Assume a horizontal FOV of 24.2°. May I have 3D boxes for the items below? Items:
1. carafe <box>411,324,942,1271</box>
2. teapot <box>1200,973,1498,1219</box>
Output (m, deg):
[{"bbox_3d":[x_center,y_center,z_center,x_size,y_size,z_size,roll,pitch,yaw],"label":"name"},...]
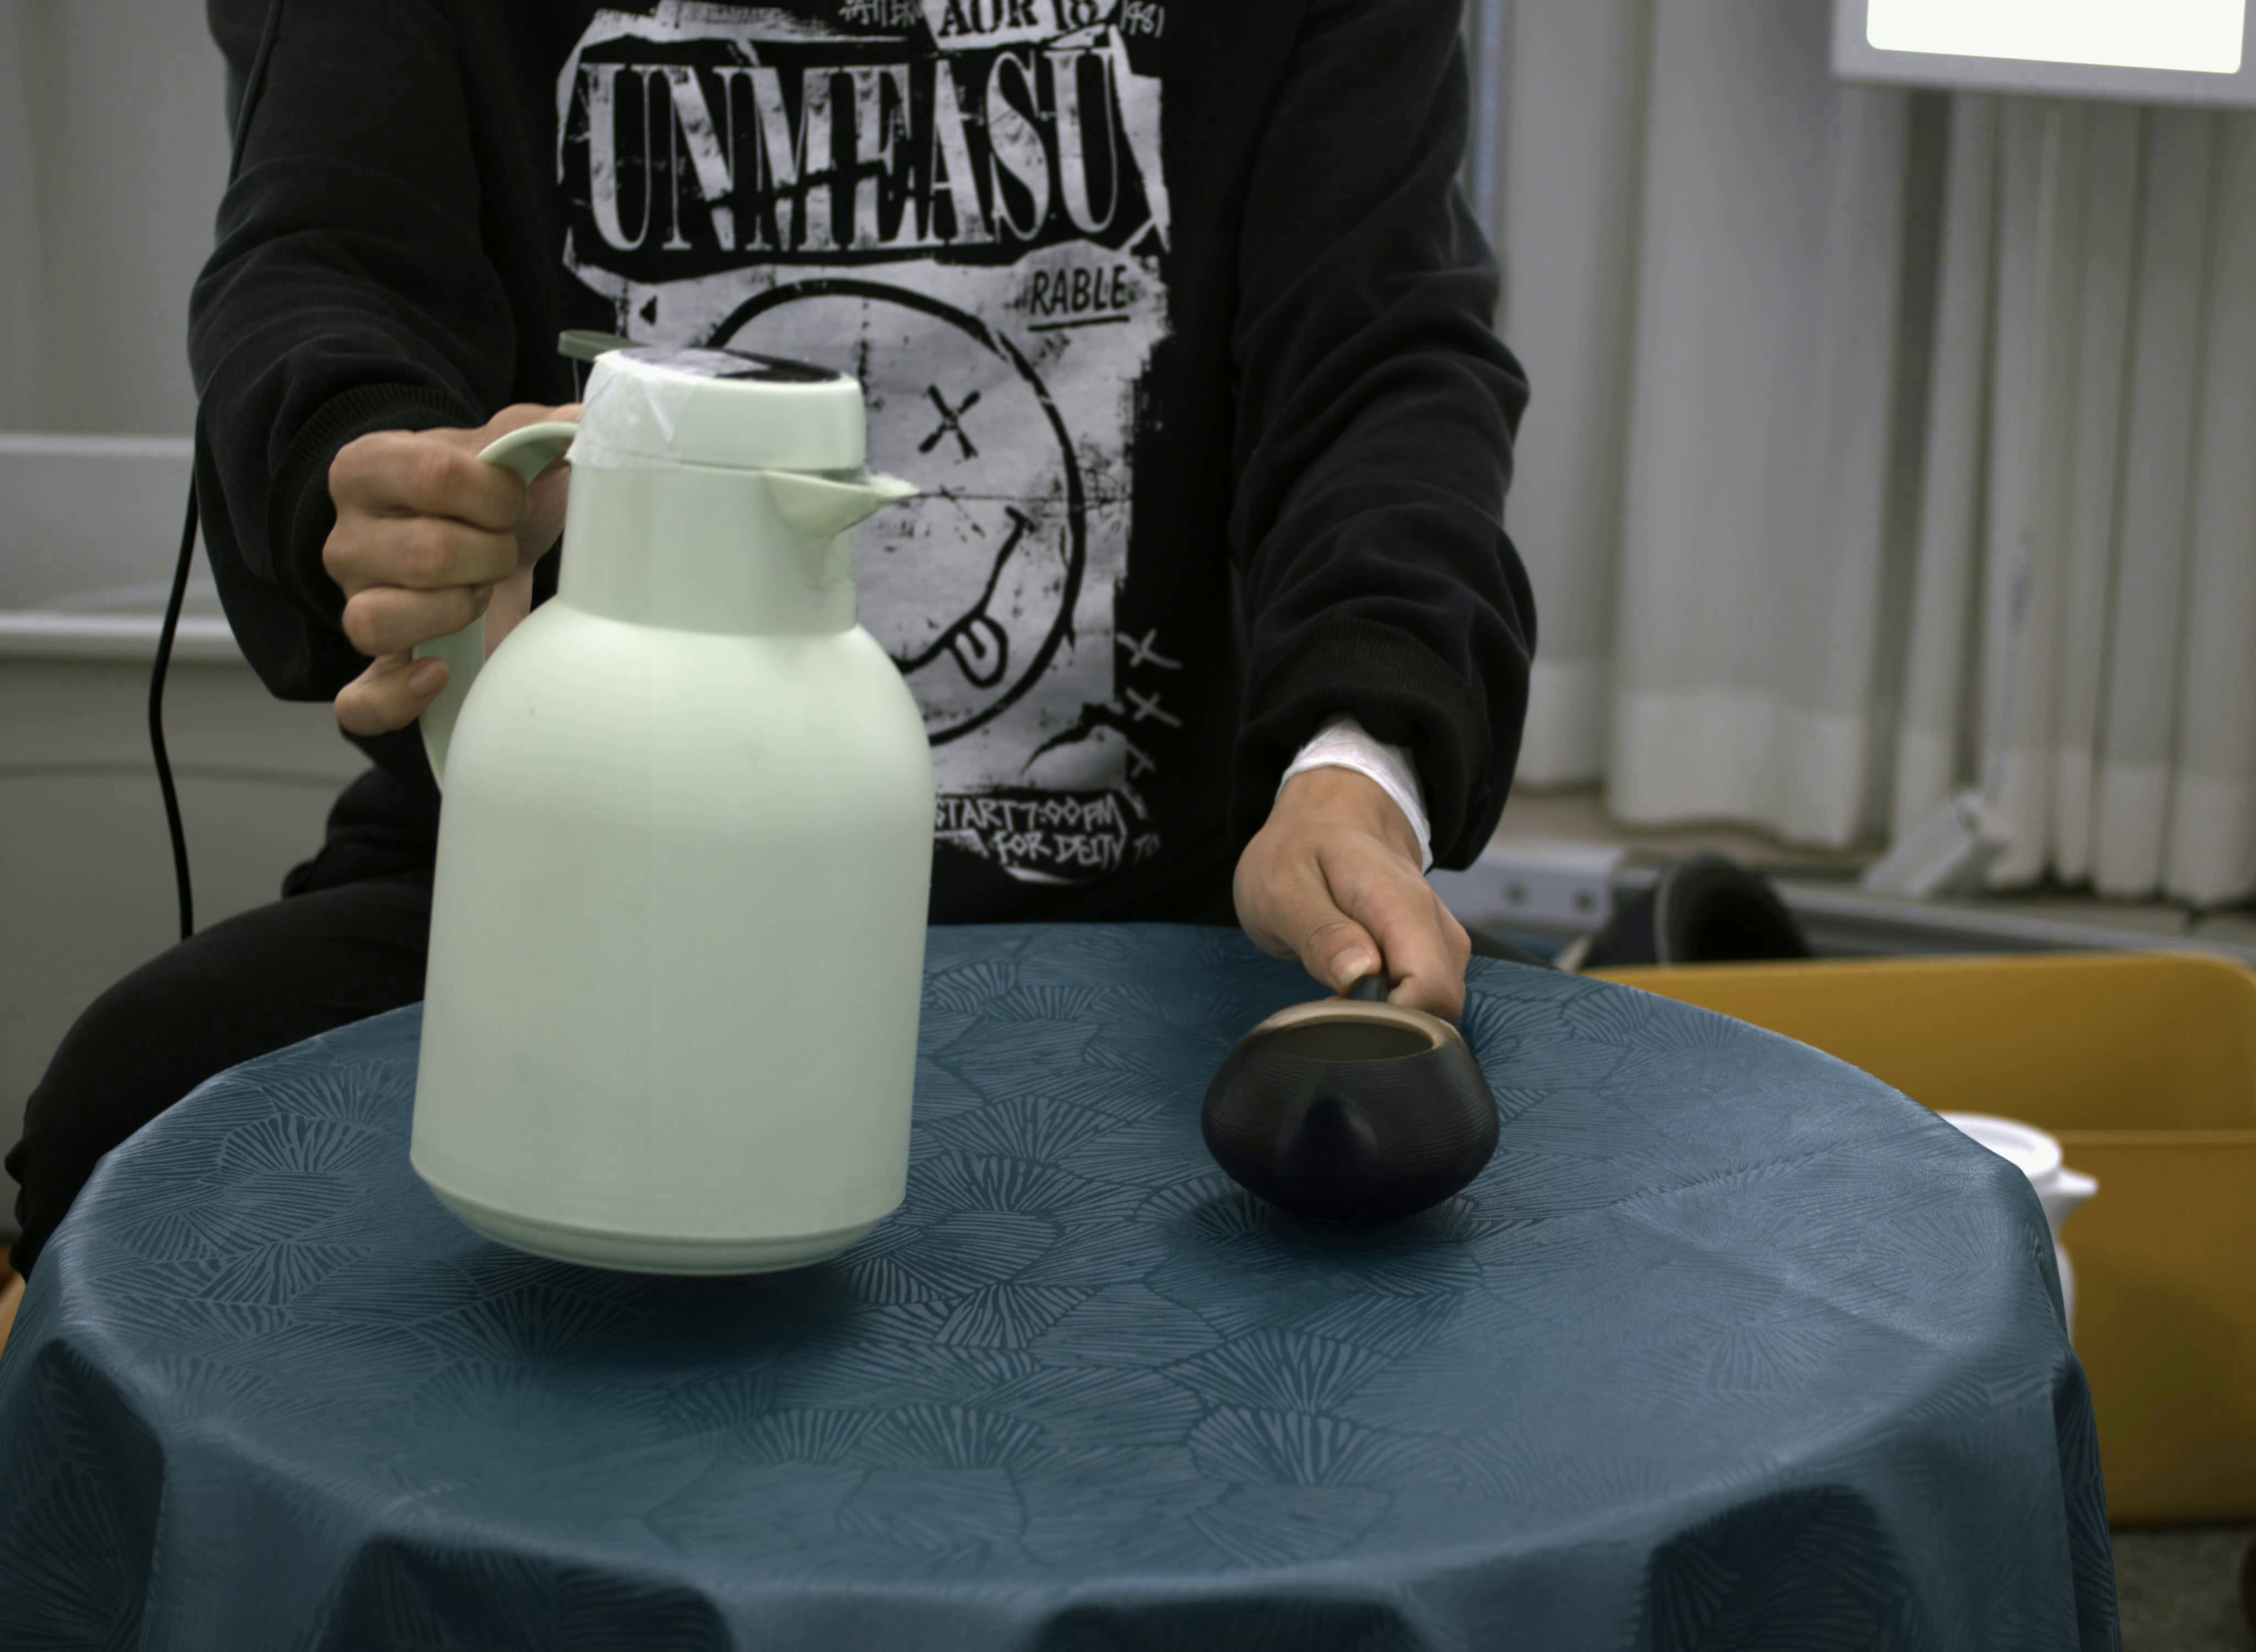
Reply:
[{"bbox_3d":[-0.135,-0.013,1.512,0.184,0.258,0.145,11,13,39],"label":"carafe"},{"bbox_3d":[0.067,0.085,1.598,0.090,0.053,0.133,5,18,8],"label":"teapot"}]
